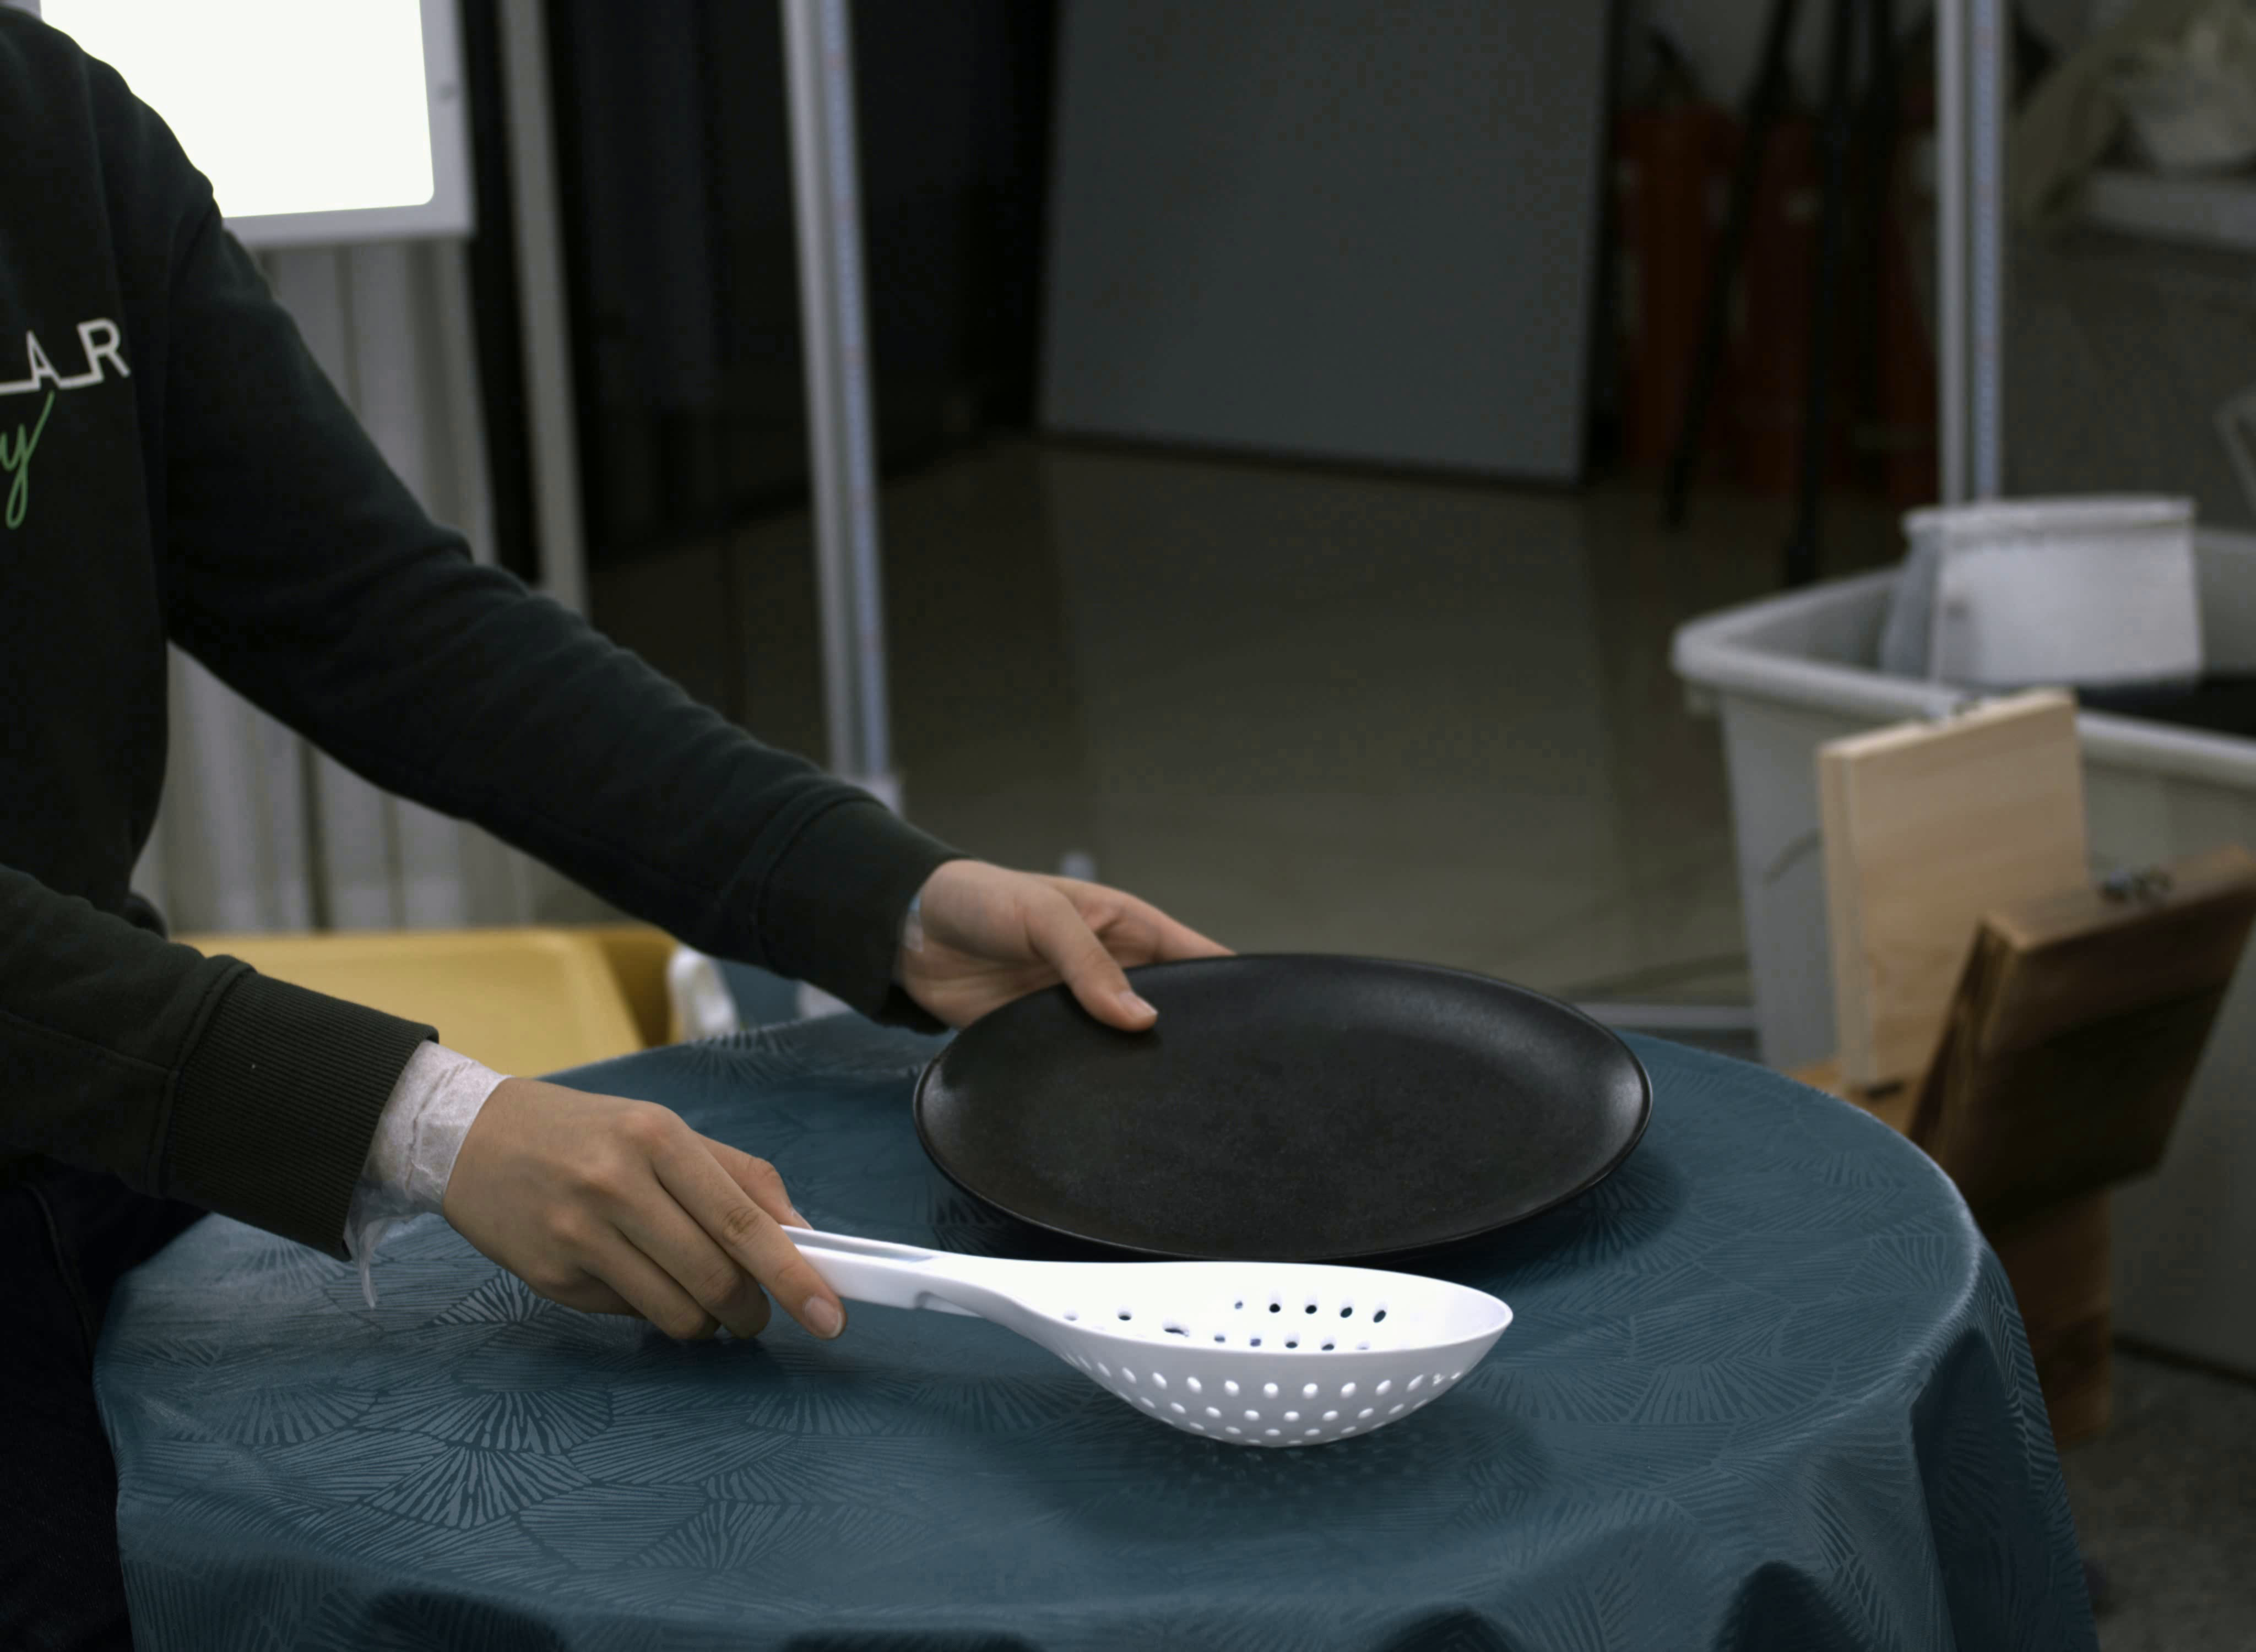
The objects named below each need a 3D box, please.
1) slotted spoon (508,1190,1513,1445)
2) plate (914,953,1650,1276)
[{"bbox_3d":[-0.046,0.135,1.594,0.352,0.046,0.133,11,8,35],"label":"slotted spoon"},{"bbox_3d":[0.050,0.097,1.758,0.241,0.023,0.245,-2,21,0],"label":"plate"}]
